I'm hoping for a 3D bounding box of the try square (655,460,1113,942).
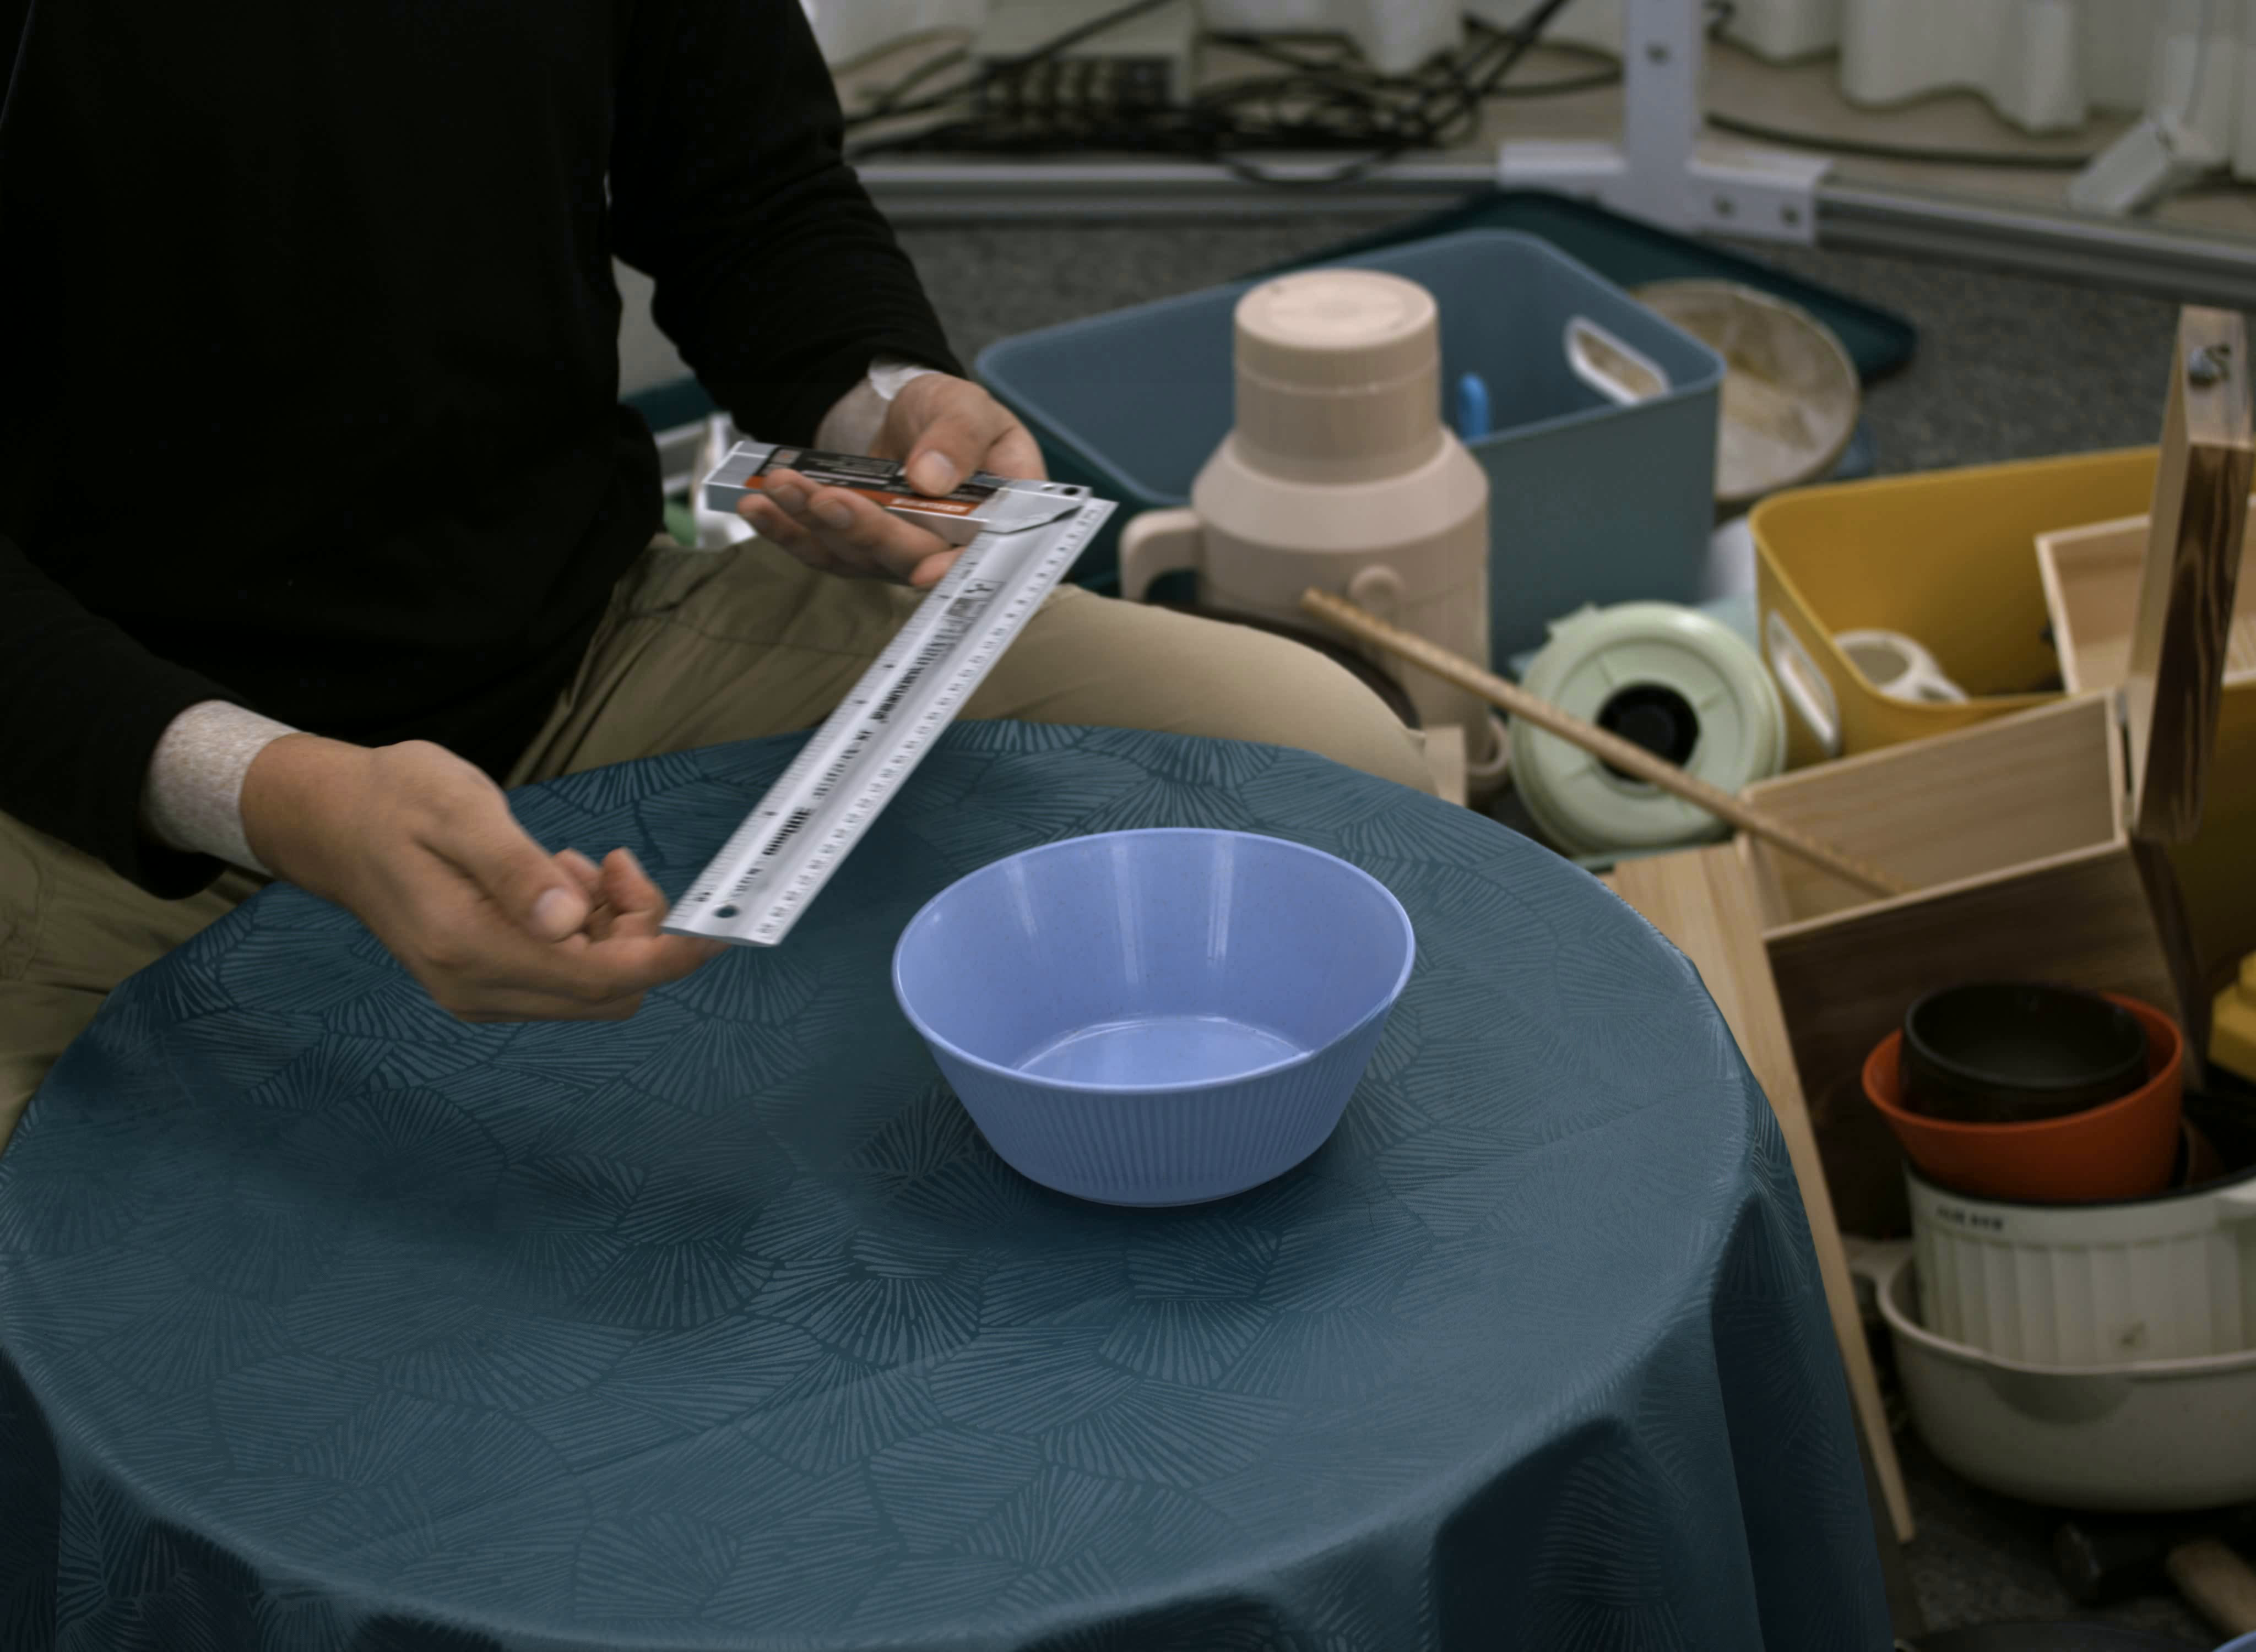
[{"bbox_3d":[-0.128,-0.048,1.938,0.151,0.016,0.318,5,31,21],"label":"try square"}]

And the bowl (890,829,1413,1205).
[{"bbox_3d":[0.009,0.070,1.885,0.175,0.069,0.179,-2,28,2],"label":"bowl"}]
